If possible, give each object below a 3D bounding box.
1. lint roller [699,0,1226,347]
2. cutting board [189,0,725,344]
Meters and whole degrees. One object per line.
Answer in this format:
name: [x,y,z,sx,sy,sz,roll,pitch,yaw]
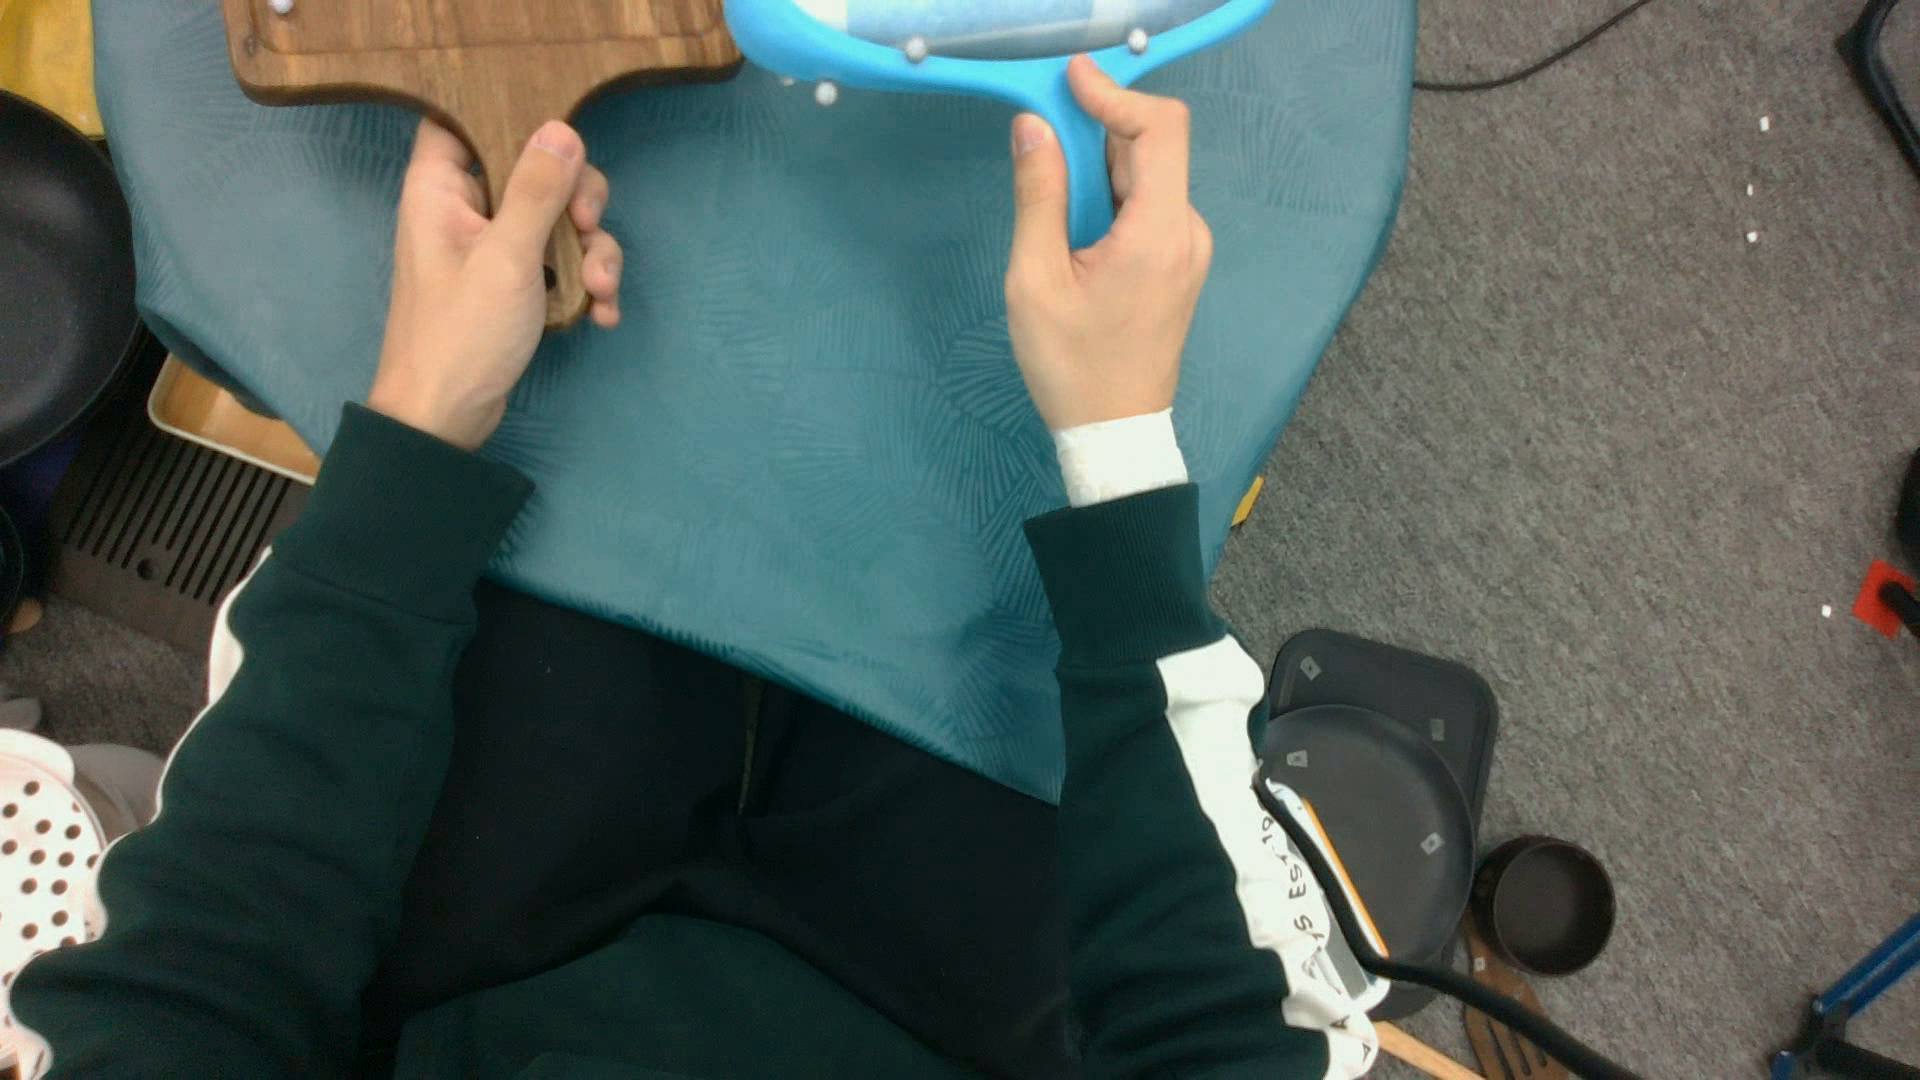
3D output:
lint roller: [0.027,-0.172,0.553,0.229,0.068,0.180,-18,86,-18]
cutting board: [-0.208,-0.251,0.558,0.201,0.023,0.352,-12,87,-19]
